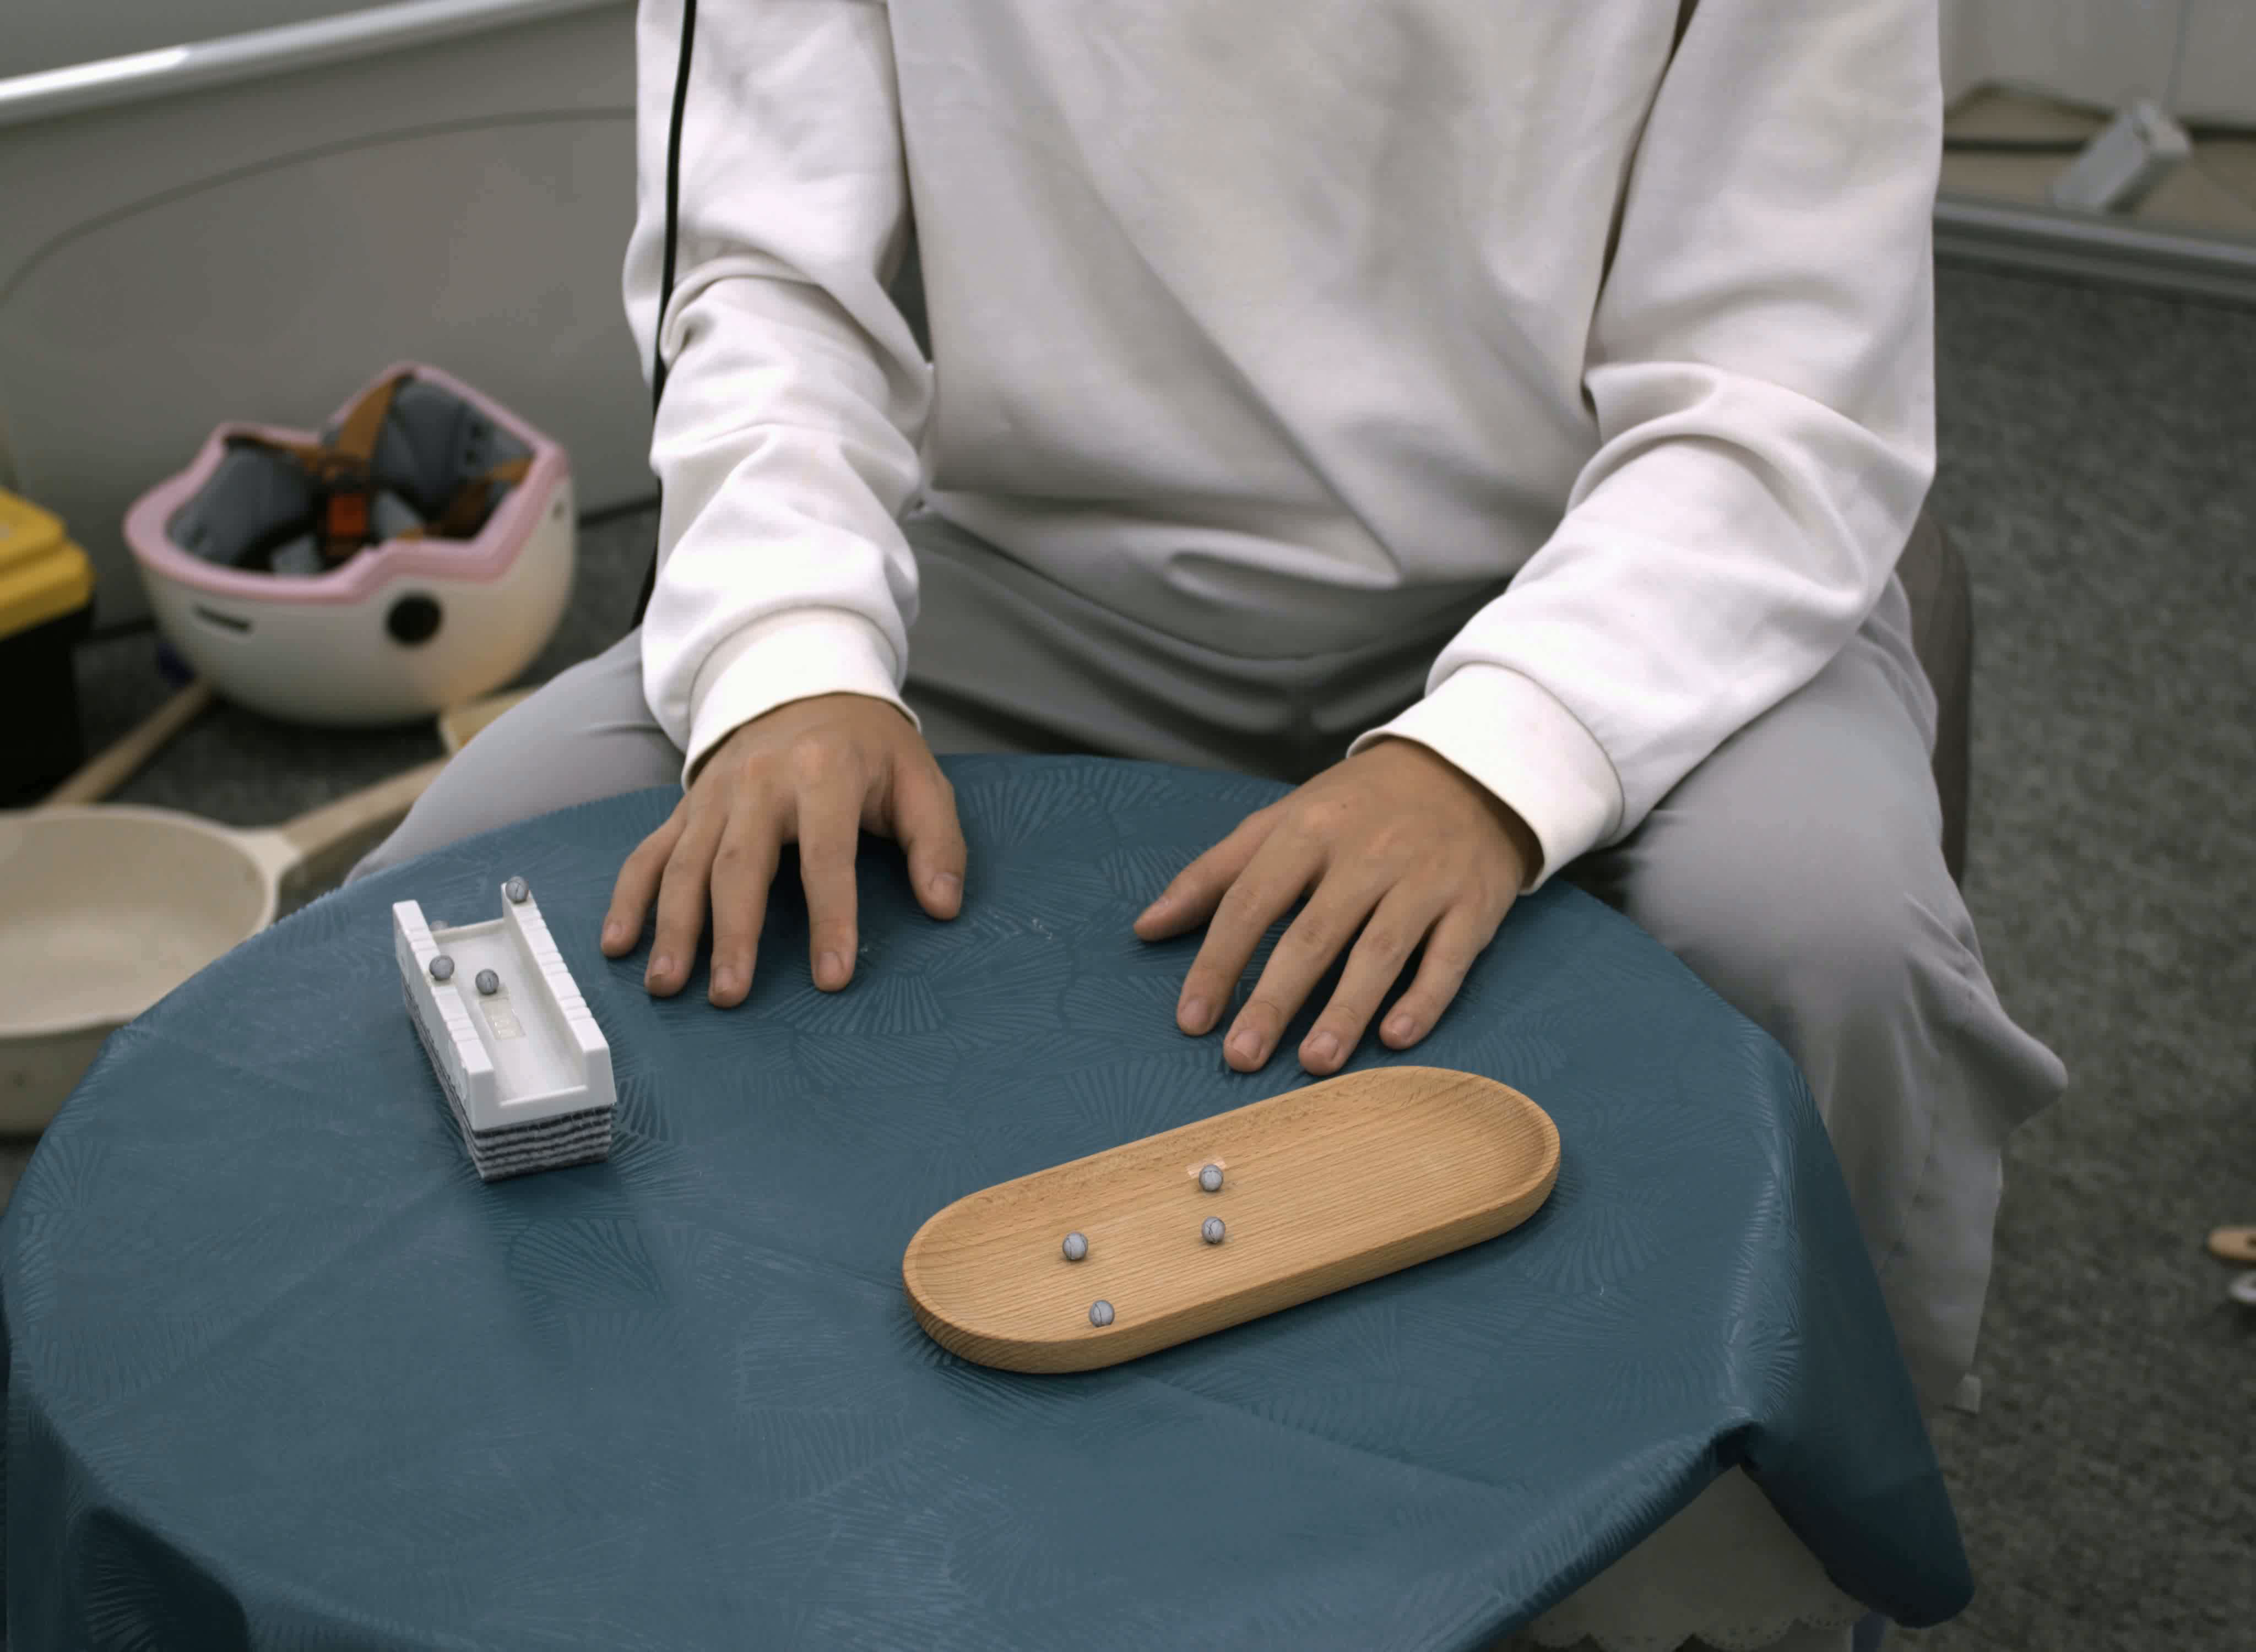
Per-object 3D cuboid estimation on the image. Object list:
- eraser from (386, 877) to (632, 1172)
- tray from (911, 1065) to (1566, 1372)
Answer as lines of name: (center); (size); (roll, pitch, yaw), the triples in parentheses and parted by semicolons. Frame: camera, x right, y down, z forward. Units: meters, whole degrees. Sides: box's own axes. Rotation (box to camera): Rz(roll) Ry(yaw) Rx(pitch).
eraser: (-0.214, 0.069, 1.934); (0.050, 0.046, 0.135); (-7, 27, -21)
tray: (0.038, 0.127, 1.833); (0.232, 0.020, 0.102); (-15, 31, -26)
